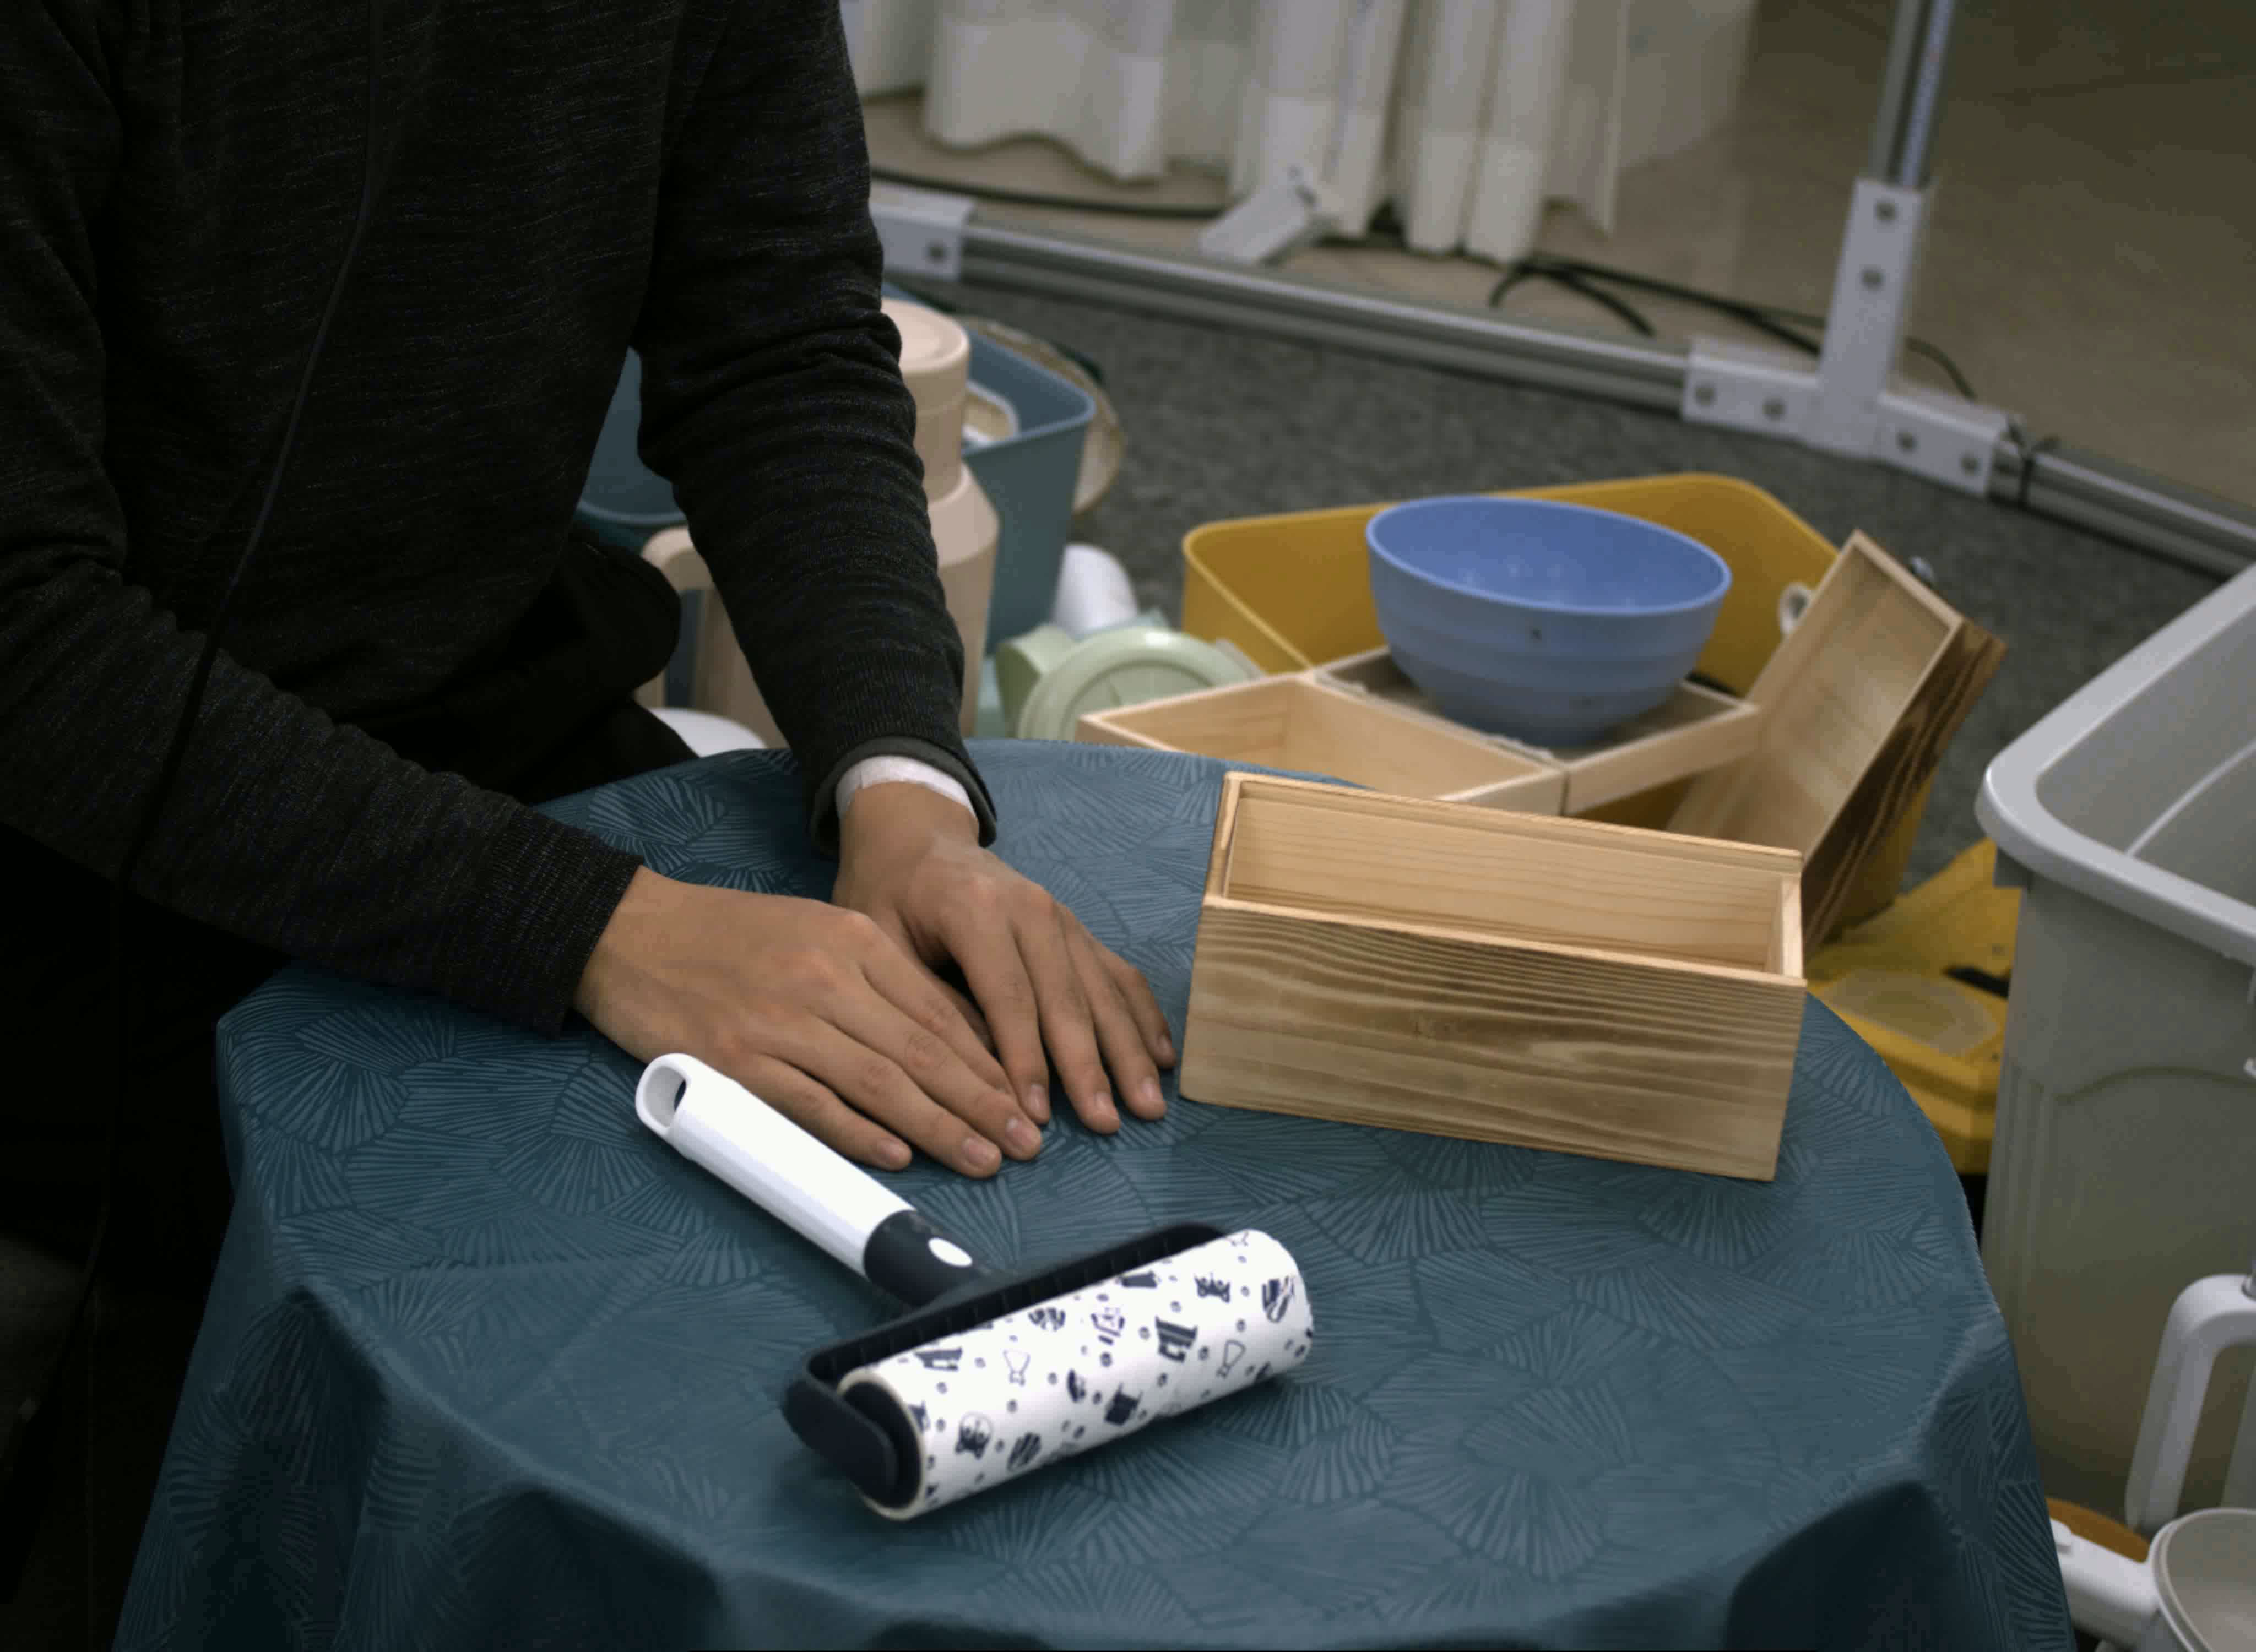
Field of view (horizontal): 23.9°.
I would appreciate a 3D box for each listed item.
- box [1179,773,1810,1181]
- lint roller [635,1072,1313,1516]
[{"bbox_3d":[0.130,0.052,1.883,0.211,0.080,0.108,8,26,2],"label":"box"},{"bbox_3d":[-0.082,0.131,1.722,0.175,0.050,0.249,-18,34,-37],"label":"lint roller"}]
